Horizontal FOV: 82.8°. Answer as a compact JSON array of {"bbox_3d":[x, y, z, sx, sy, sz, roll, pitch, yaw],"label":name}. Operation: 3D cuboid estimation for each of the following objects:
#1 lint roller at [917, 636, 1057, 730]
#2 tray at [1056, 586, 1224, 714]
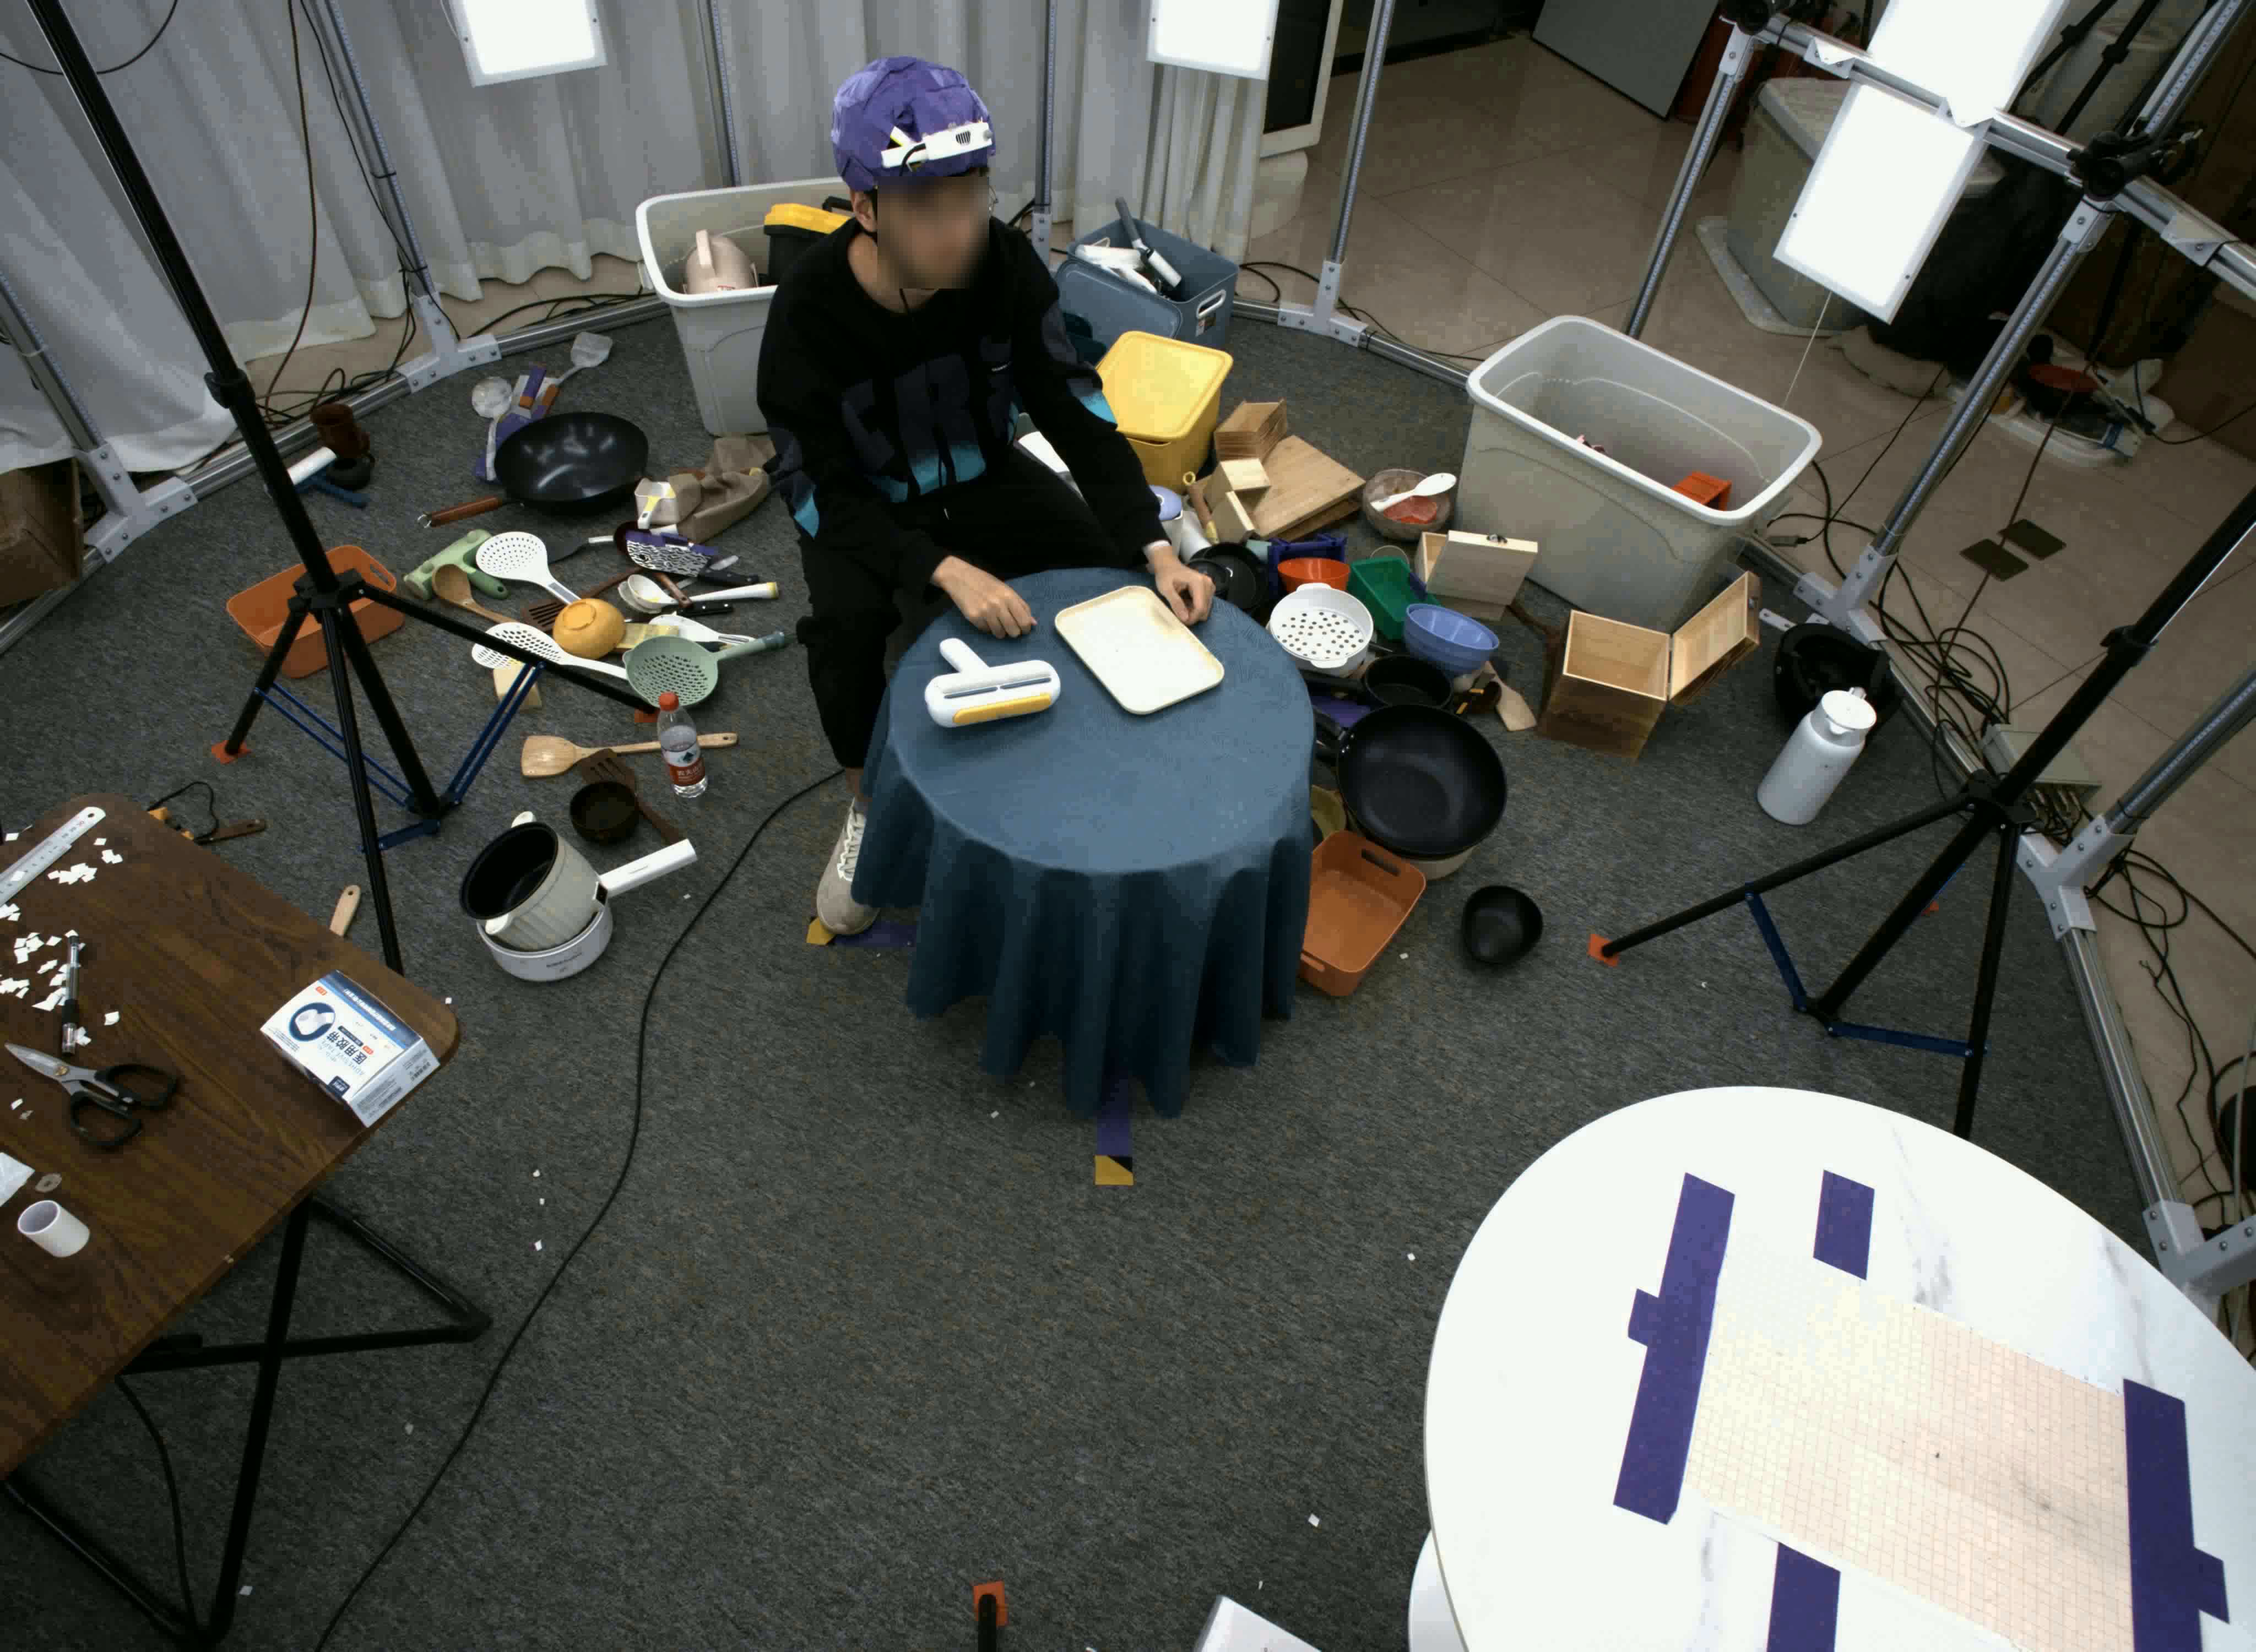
[{"bbox_3d":[-0.215,-0.216,1.798,0.193,0.072,0.197,-13,50,-21],"label":"lint roller"},{"bbox_3d":[0.015,-0.260,1.883,0.172,0.017,0.244,-24,54,-22],"label":"tray"}]
